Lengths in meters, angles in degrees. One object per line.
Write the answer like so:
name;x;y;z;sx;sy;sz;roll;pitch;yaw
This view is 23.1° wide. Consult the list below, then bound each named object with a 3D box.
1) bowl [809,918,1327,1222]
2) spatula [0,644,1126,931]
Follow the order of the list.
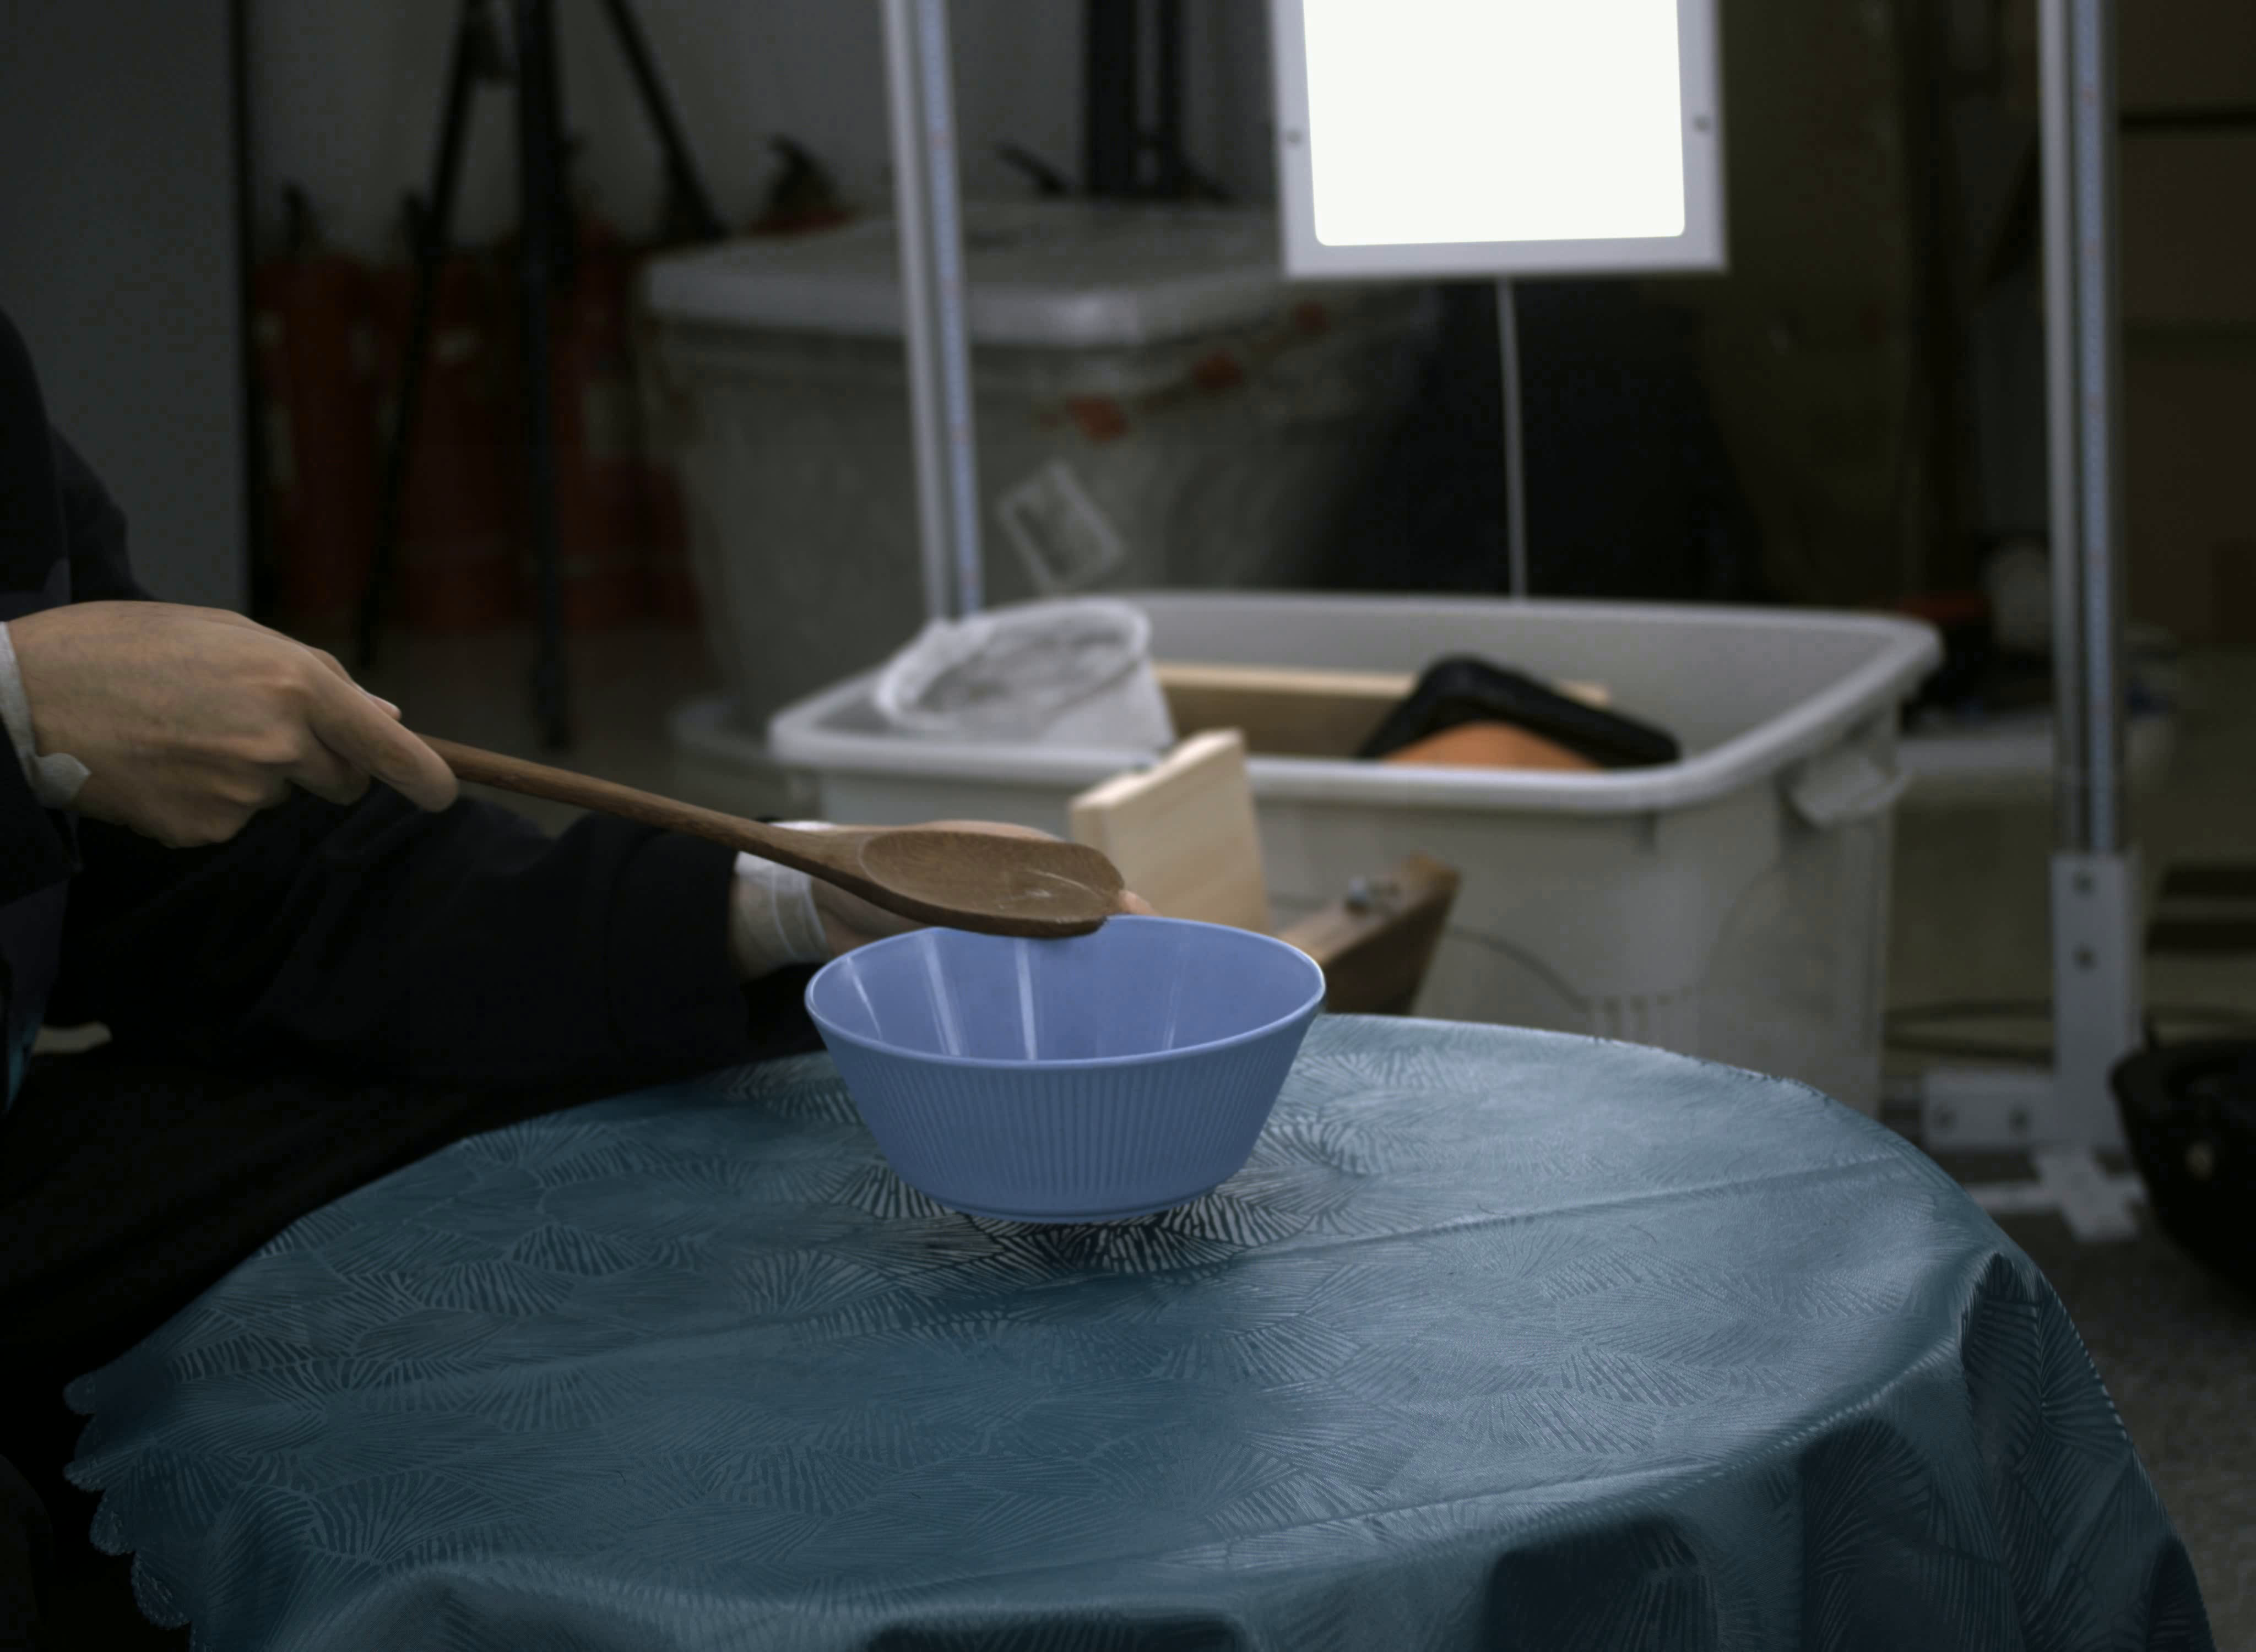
bowl;-0.019;0.084;1.857;0.175;0.070;0.176;-3;14;-1
spatula;-0.188;-0.015;1.798;0.384;0.016;0.096;13;16;-2
